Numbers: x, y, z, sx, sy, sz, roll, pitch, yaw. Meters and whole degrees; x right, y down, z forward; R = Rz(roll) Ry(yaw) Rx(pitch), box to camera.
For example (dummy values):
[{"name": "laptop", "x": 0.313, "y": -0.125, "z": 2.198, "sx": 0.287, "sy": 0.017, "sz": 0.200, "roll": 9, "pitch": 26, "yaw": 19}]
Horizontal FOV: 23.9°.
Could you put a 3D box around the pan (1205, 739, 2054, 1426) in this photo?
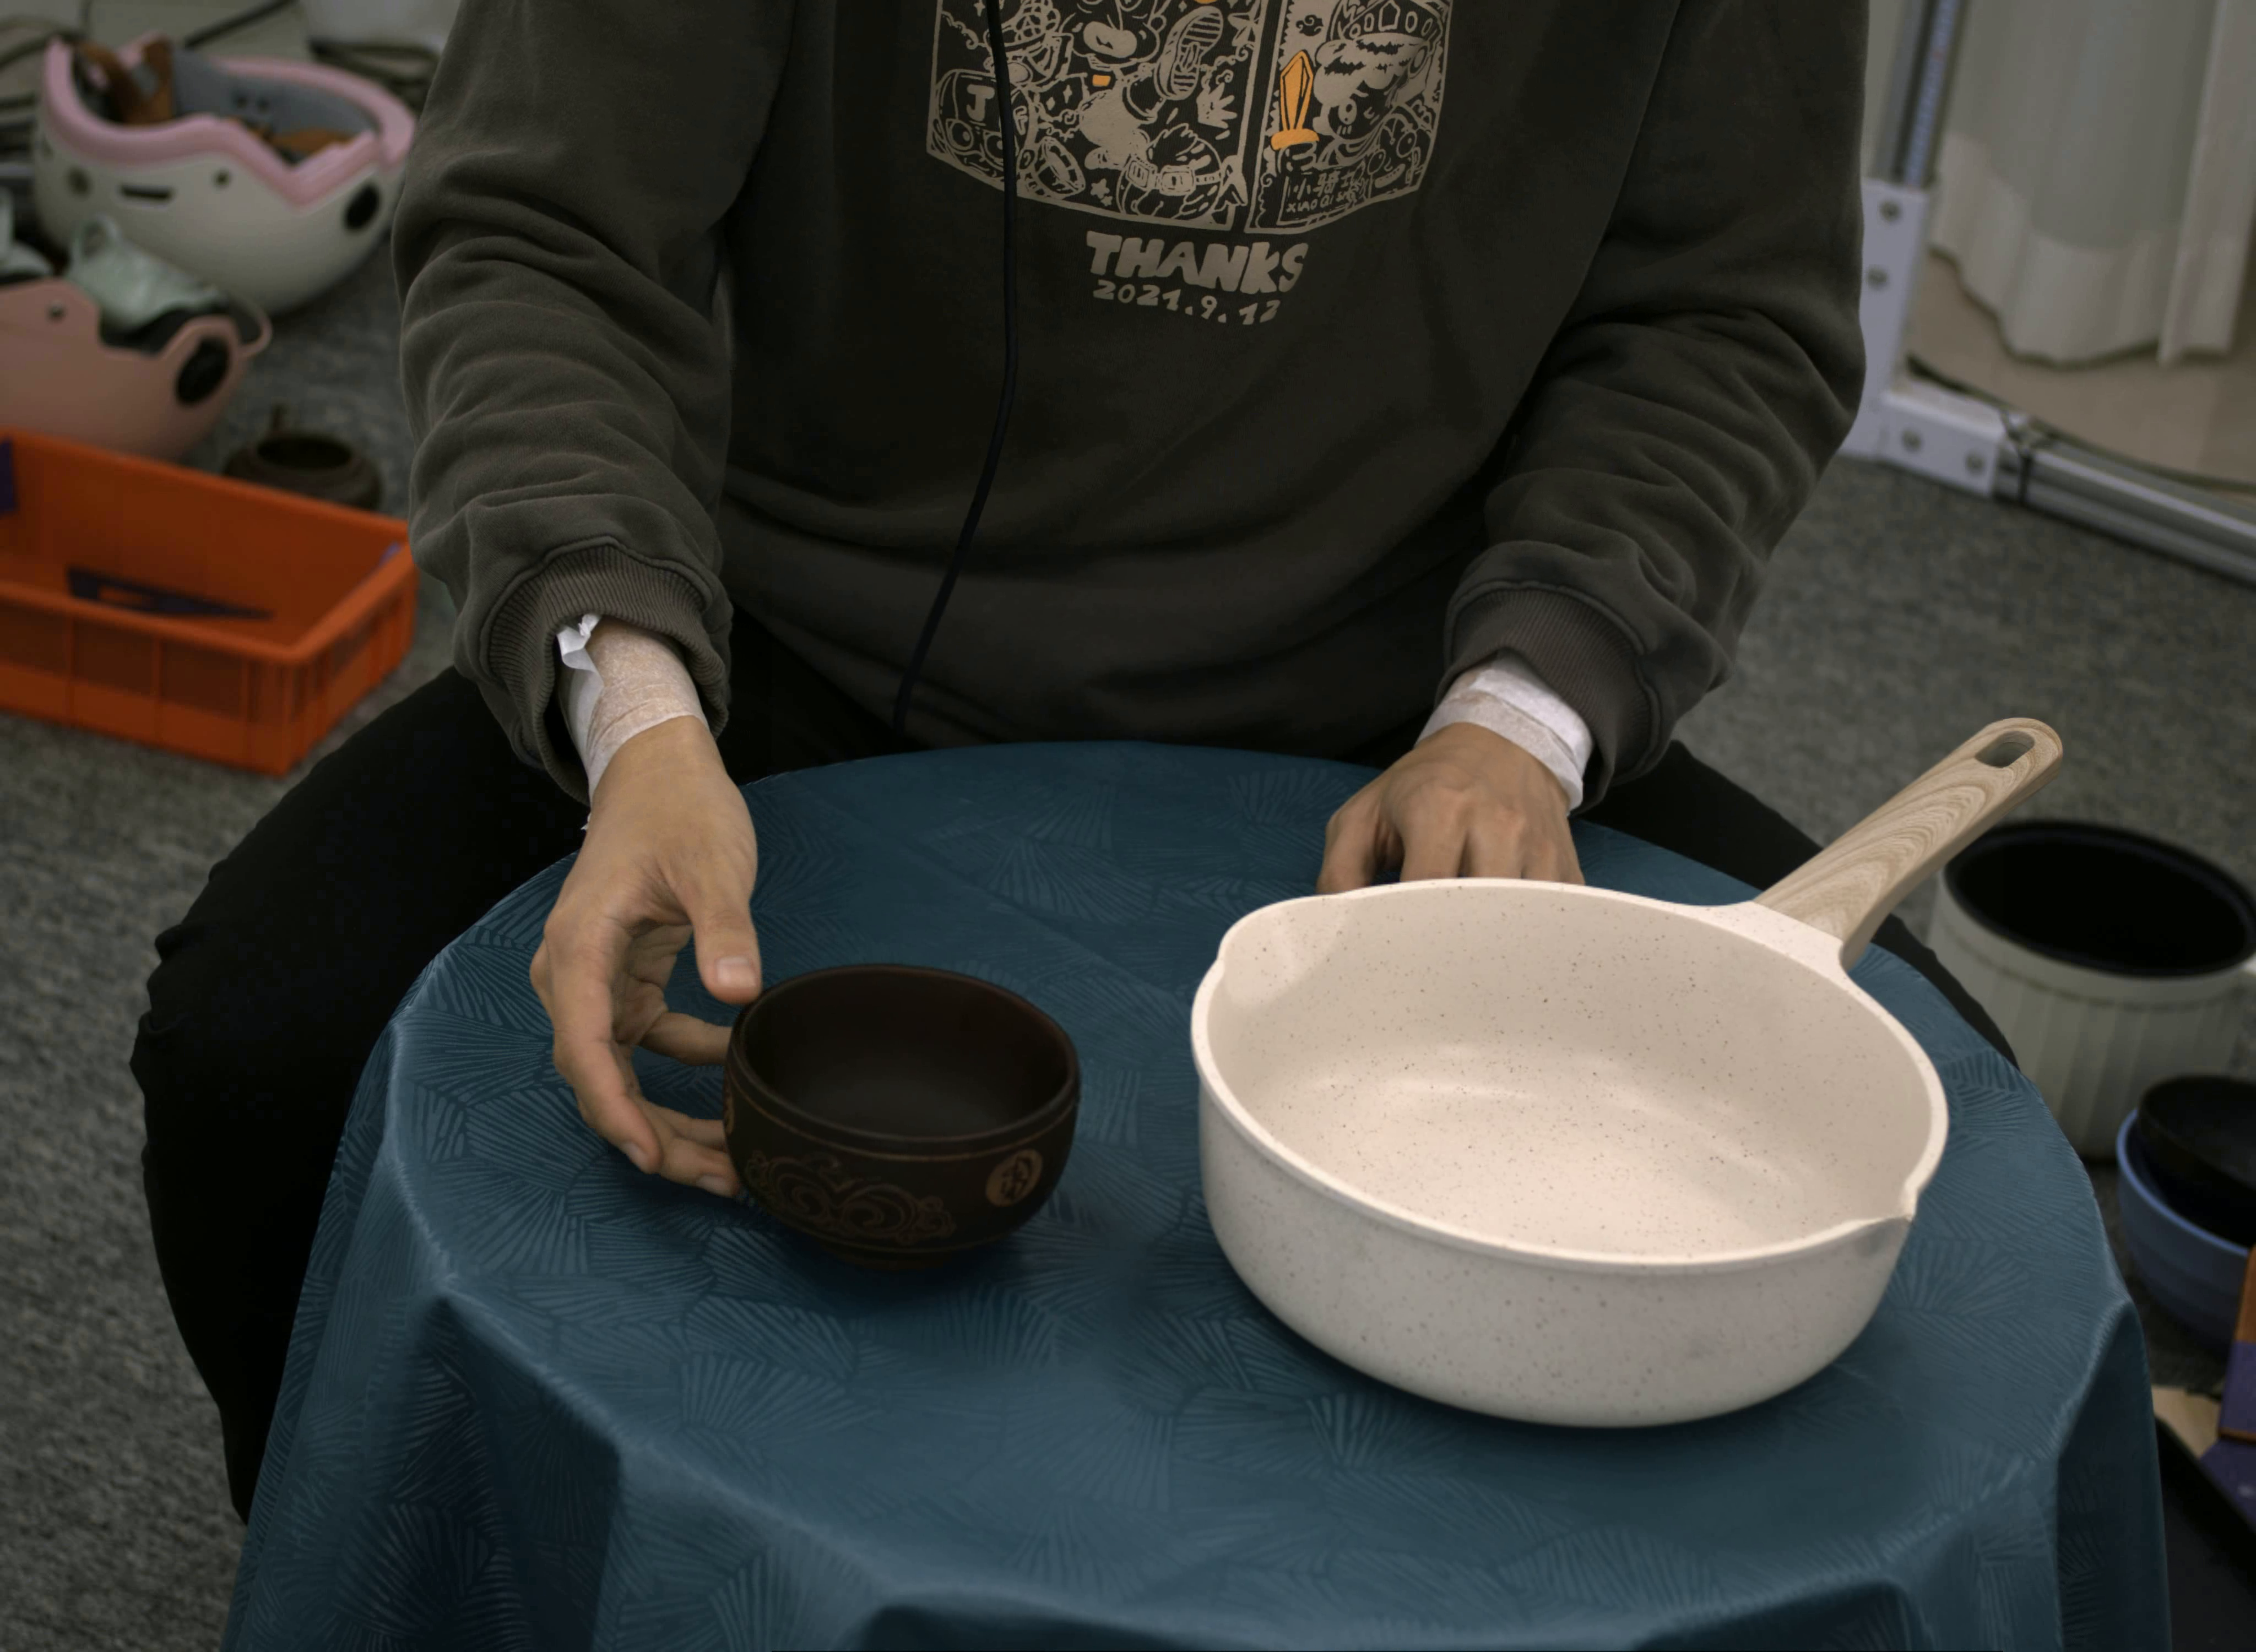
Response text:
[{"name": "pan", "x": 0.202, "y": 0.079, "z": 1.829, "sx": 0.265, "sy": 0.101, "sz": 0.433, "roll": 22, "pitch": 30, "yaw": 32}]

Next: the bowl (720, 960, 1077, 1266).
[{"name": "bowl", "x": -0.077, "y": 0.101, "z": 1.752, "sx": 0.117, "sy": 0.069, "sz": 0.119, "roll": 4, "pitch": 26, "yaw": -2}]
